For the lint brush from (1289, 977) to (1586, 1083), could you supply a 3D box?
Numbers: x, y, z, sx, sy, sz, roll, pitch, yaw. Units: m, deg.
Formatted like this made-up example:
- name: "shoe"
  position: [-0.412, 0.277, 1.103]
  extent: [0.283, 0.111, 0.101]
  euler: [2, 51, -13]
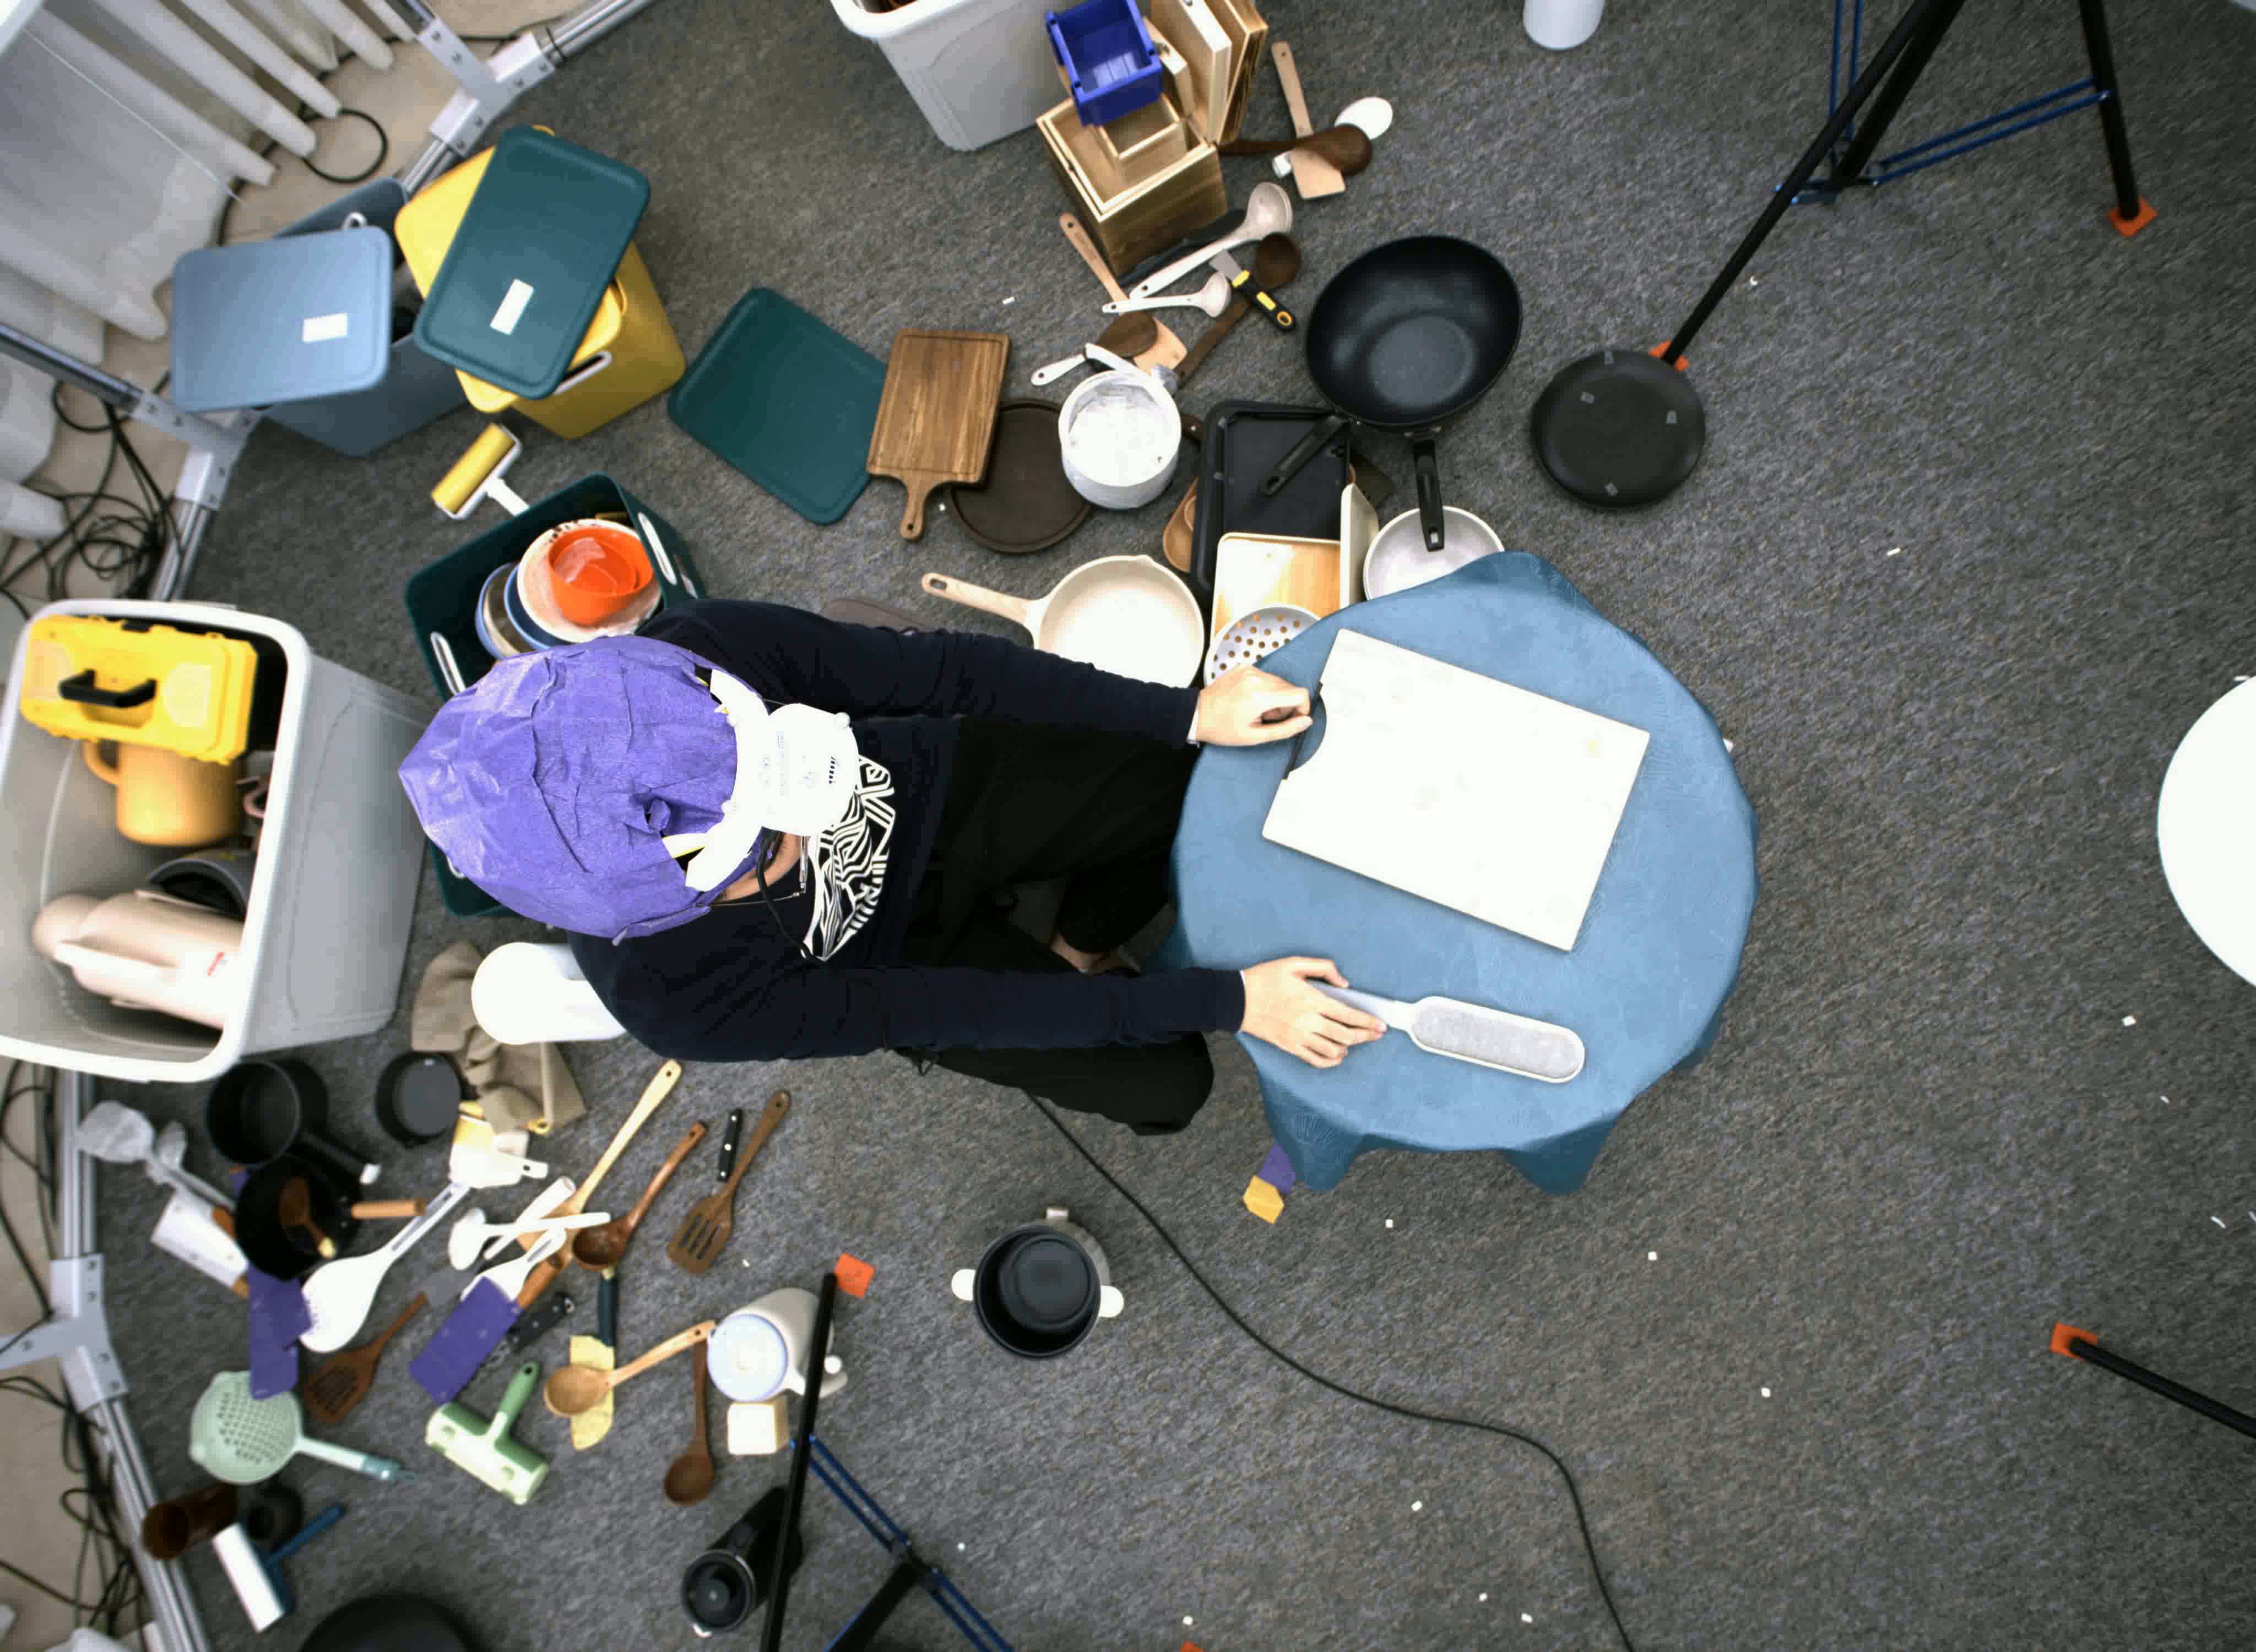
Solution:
- name: "lint brush"
  position: [0.318, 0.202, 1.430]
  extent: [0.309, 0.021, 0.060]
  euler: [13, 94, 11]

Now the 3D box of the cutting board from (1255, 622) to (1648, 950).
- name: "cutting board"
  position: [0.337, -0.046, 1.446]
  extent: [0.348, 0.023, 0.250]
  euler: [20, 90, 11]
